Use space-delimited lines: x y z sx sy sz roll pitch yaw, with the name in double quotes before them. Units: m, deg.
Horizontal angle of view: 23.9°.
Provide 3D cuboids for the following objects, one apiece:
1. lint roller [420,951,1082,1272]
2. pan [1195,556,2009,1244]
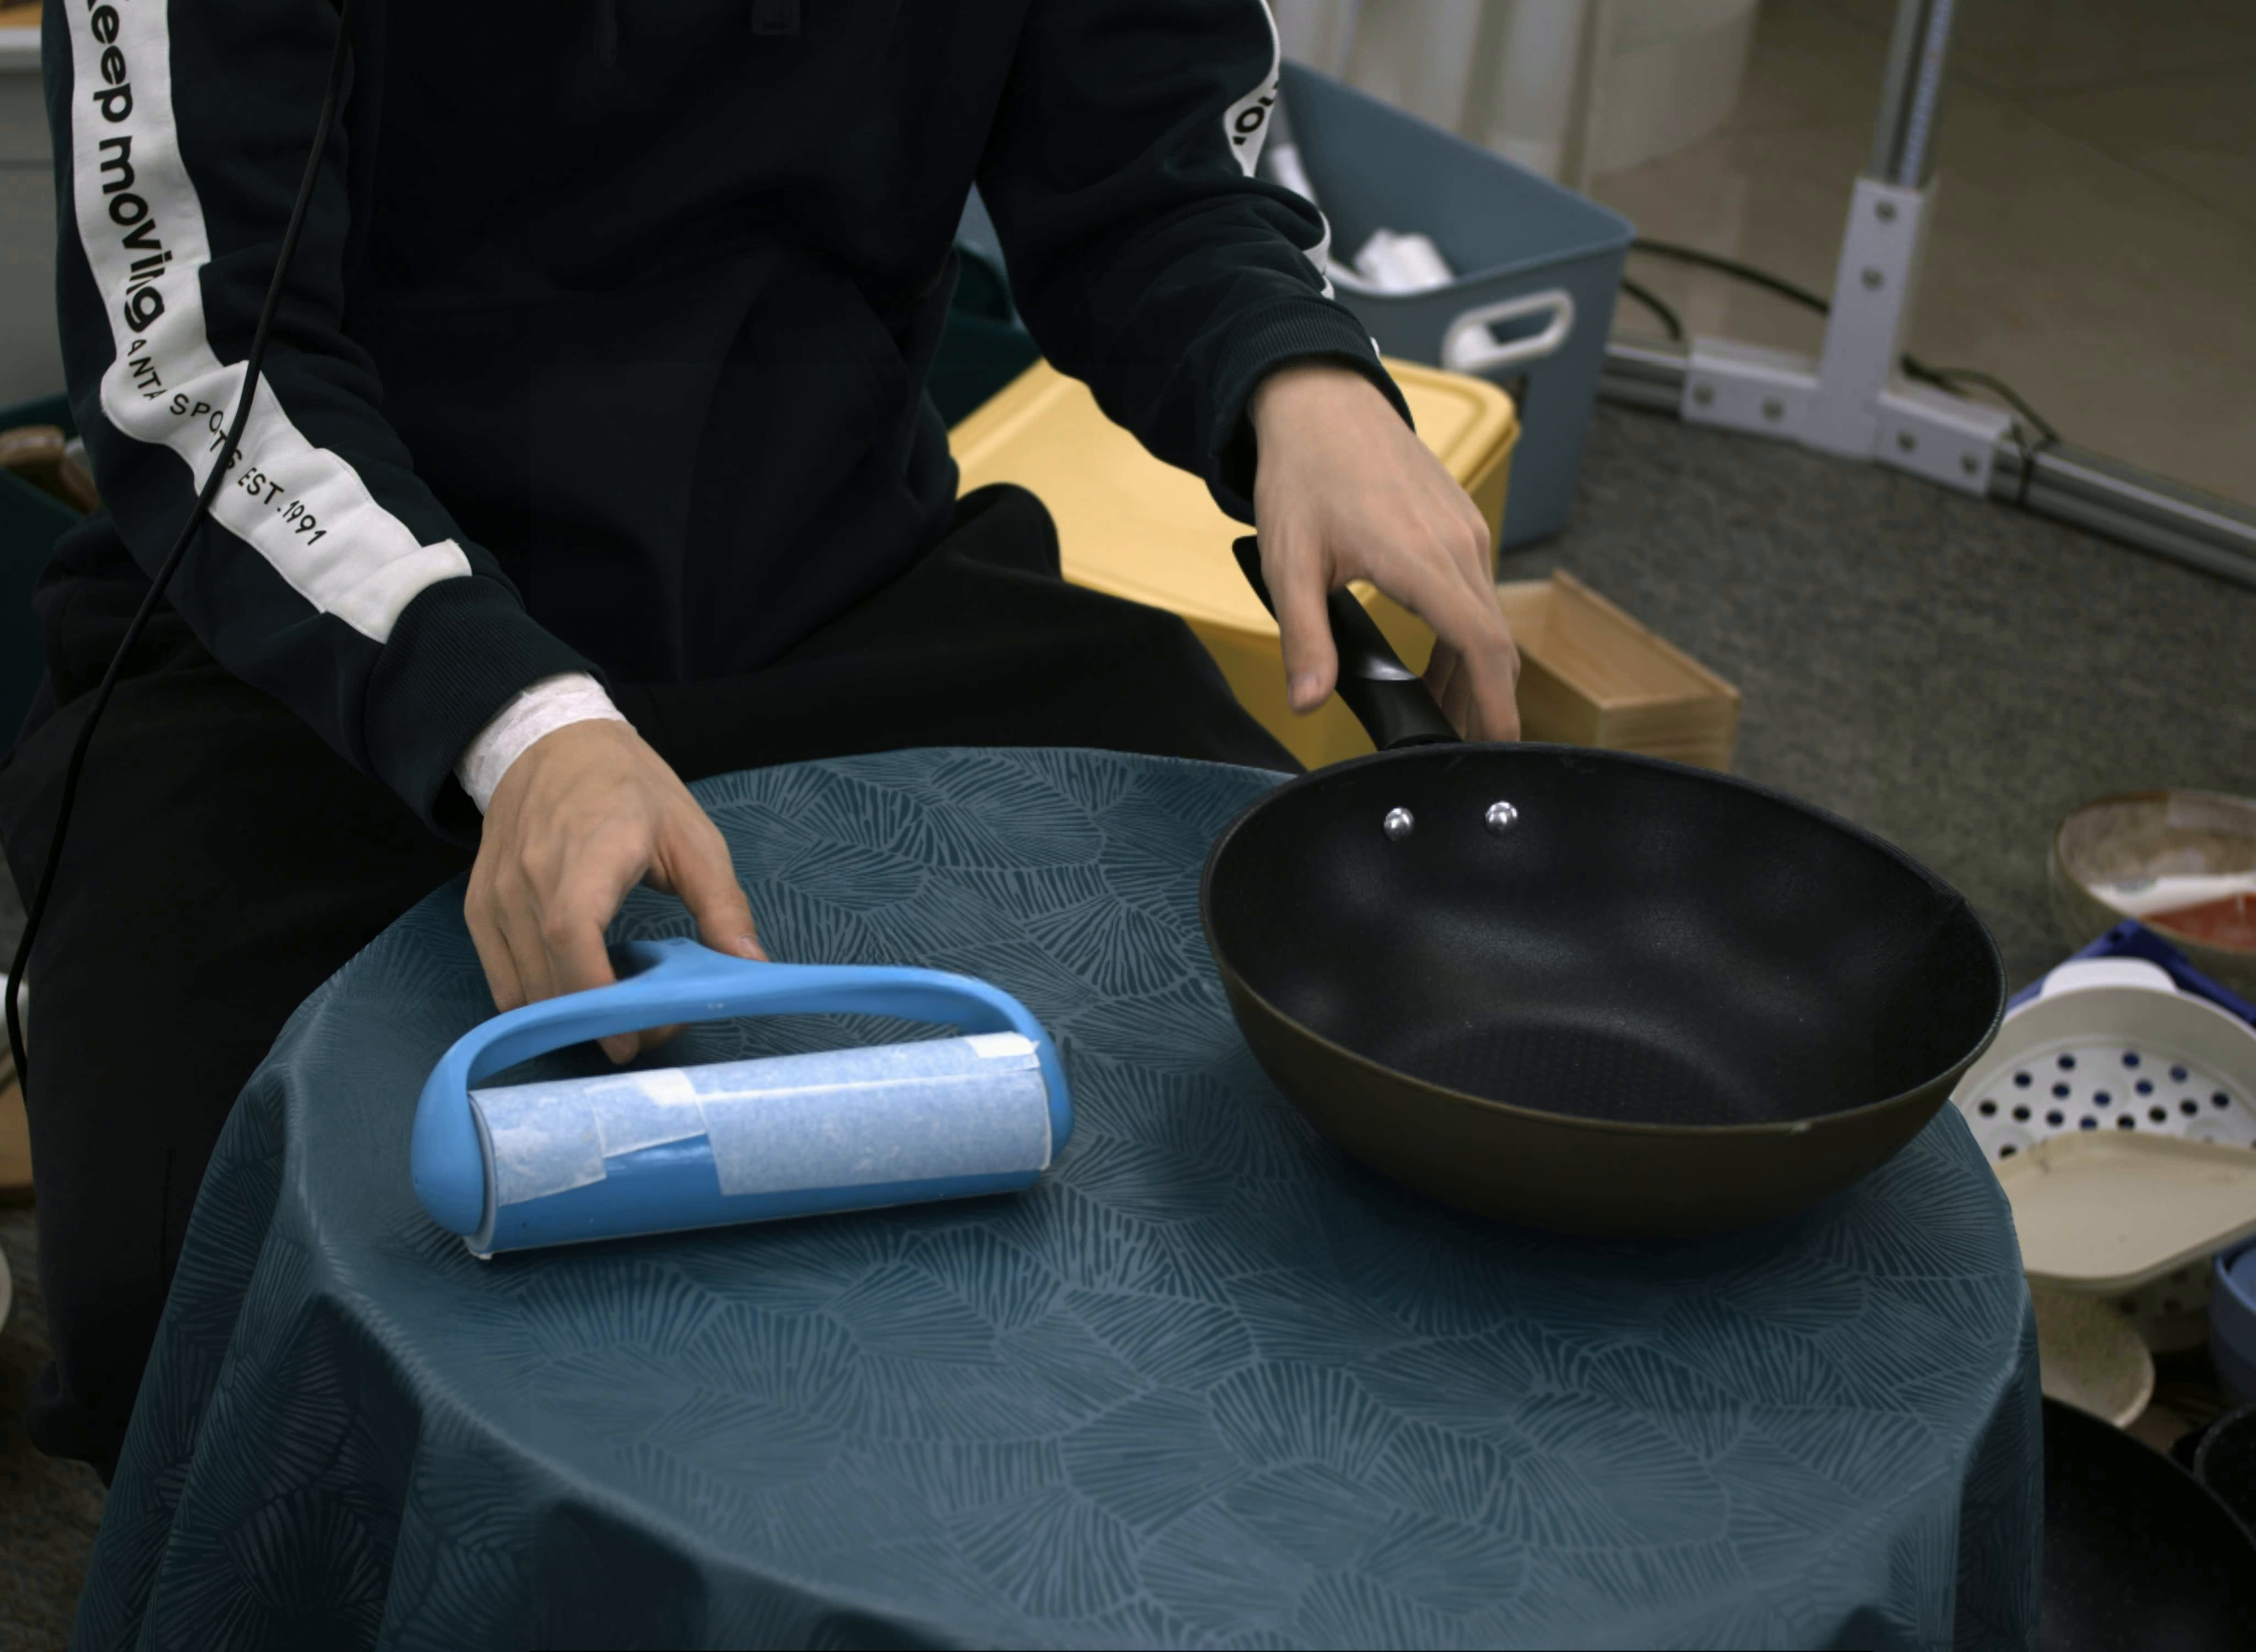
"lint roller" -0.147 0.078 1.795 0.227 0.067 0.182 -9 32 -24
"pan" 0.128 0.029 1.925 0.286 0.086 0.467 -4 28 -20
